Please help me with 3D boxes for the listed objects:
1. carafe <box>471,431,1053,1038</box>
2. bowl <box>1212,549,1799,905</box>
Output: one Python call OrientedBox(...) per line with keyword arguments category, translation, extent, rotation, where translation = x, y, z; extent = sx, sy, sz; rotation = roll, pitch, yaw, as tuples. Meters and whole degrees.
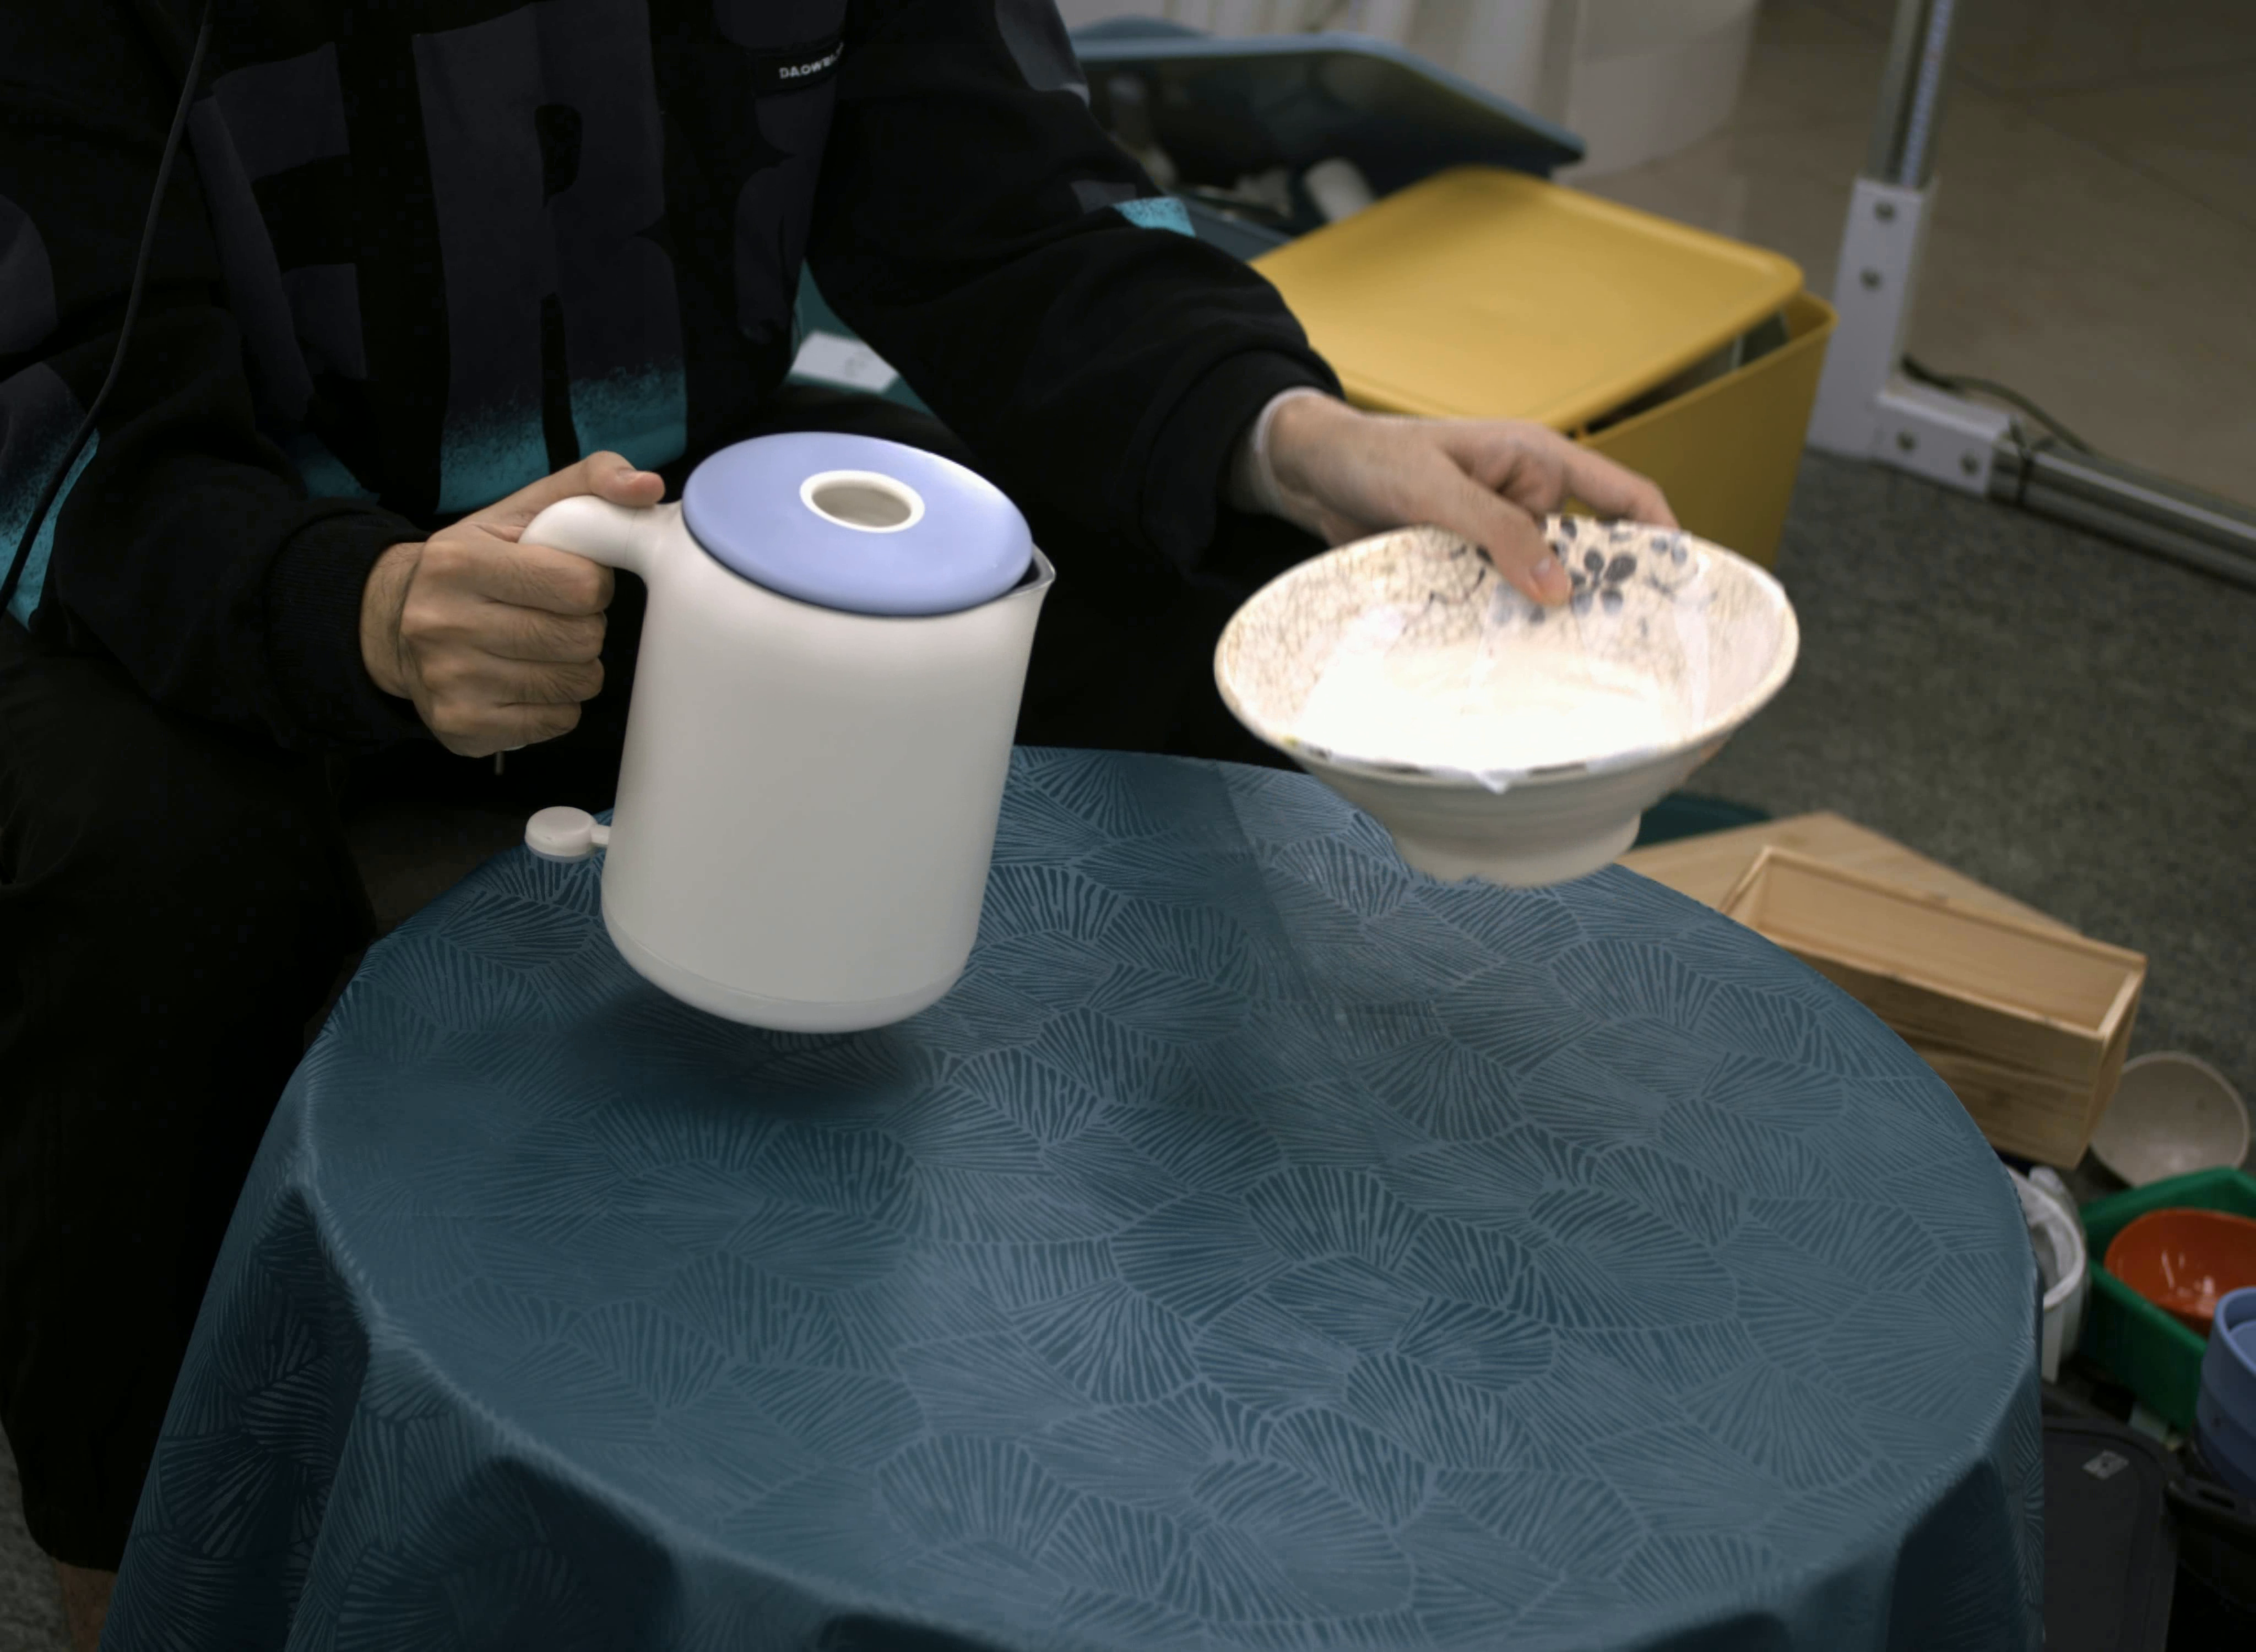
OrientedBox(category="carafe", translation=(-0.128, -0.036, 1.810), extent=(0.191, 0.182, 0.133), rotation=(11, 28, 4))
OrientedBox(category="bowl", translation=(0.133, -0.025, 1.858), extent=(0.203, 0.077, 0.205), rotation=(-5, 24, 2))
